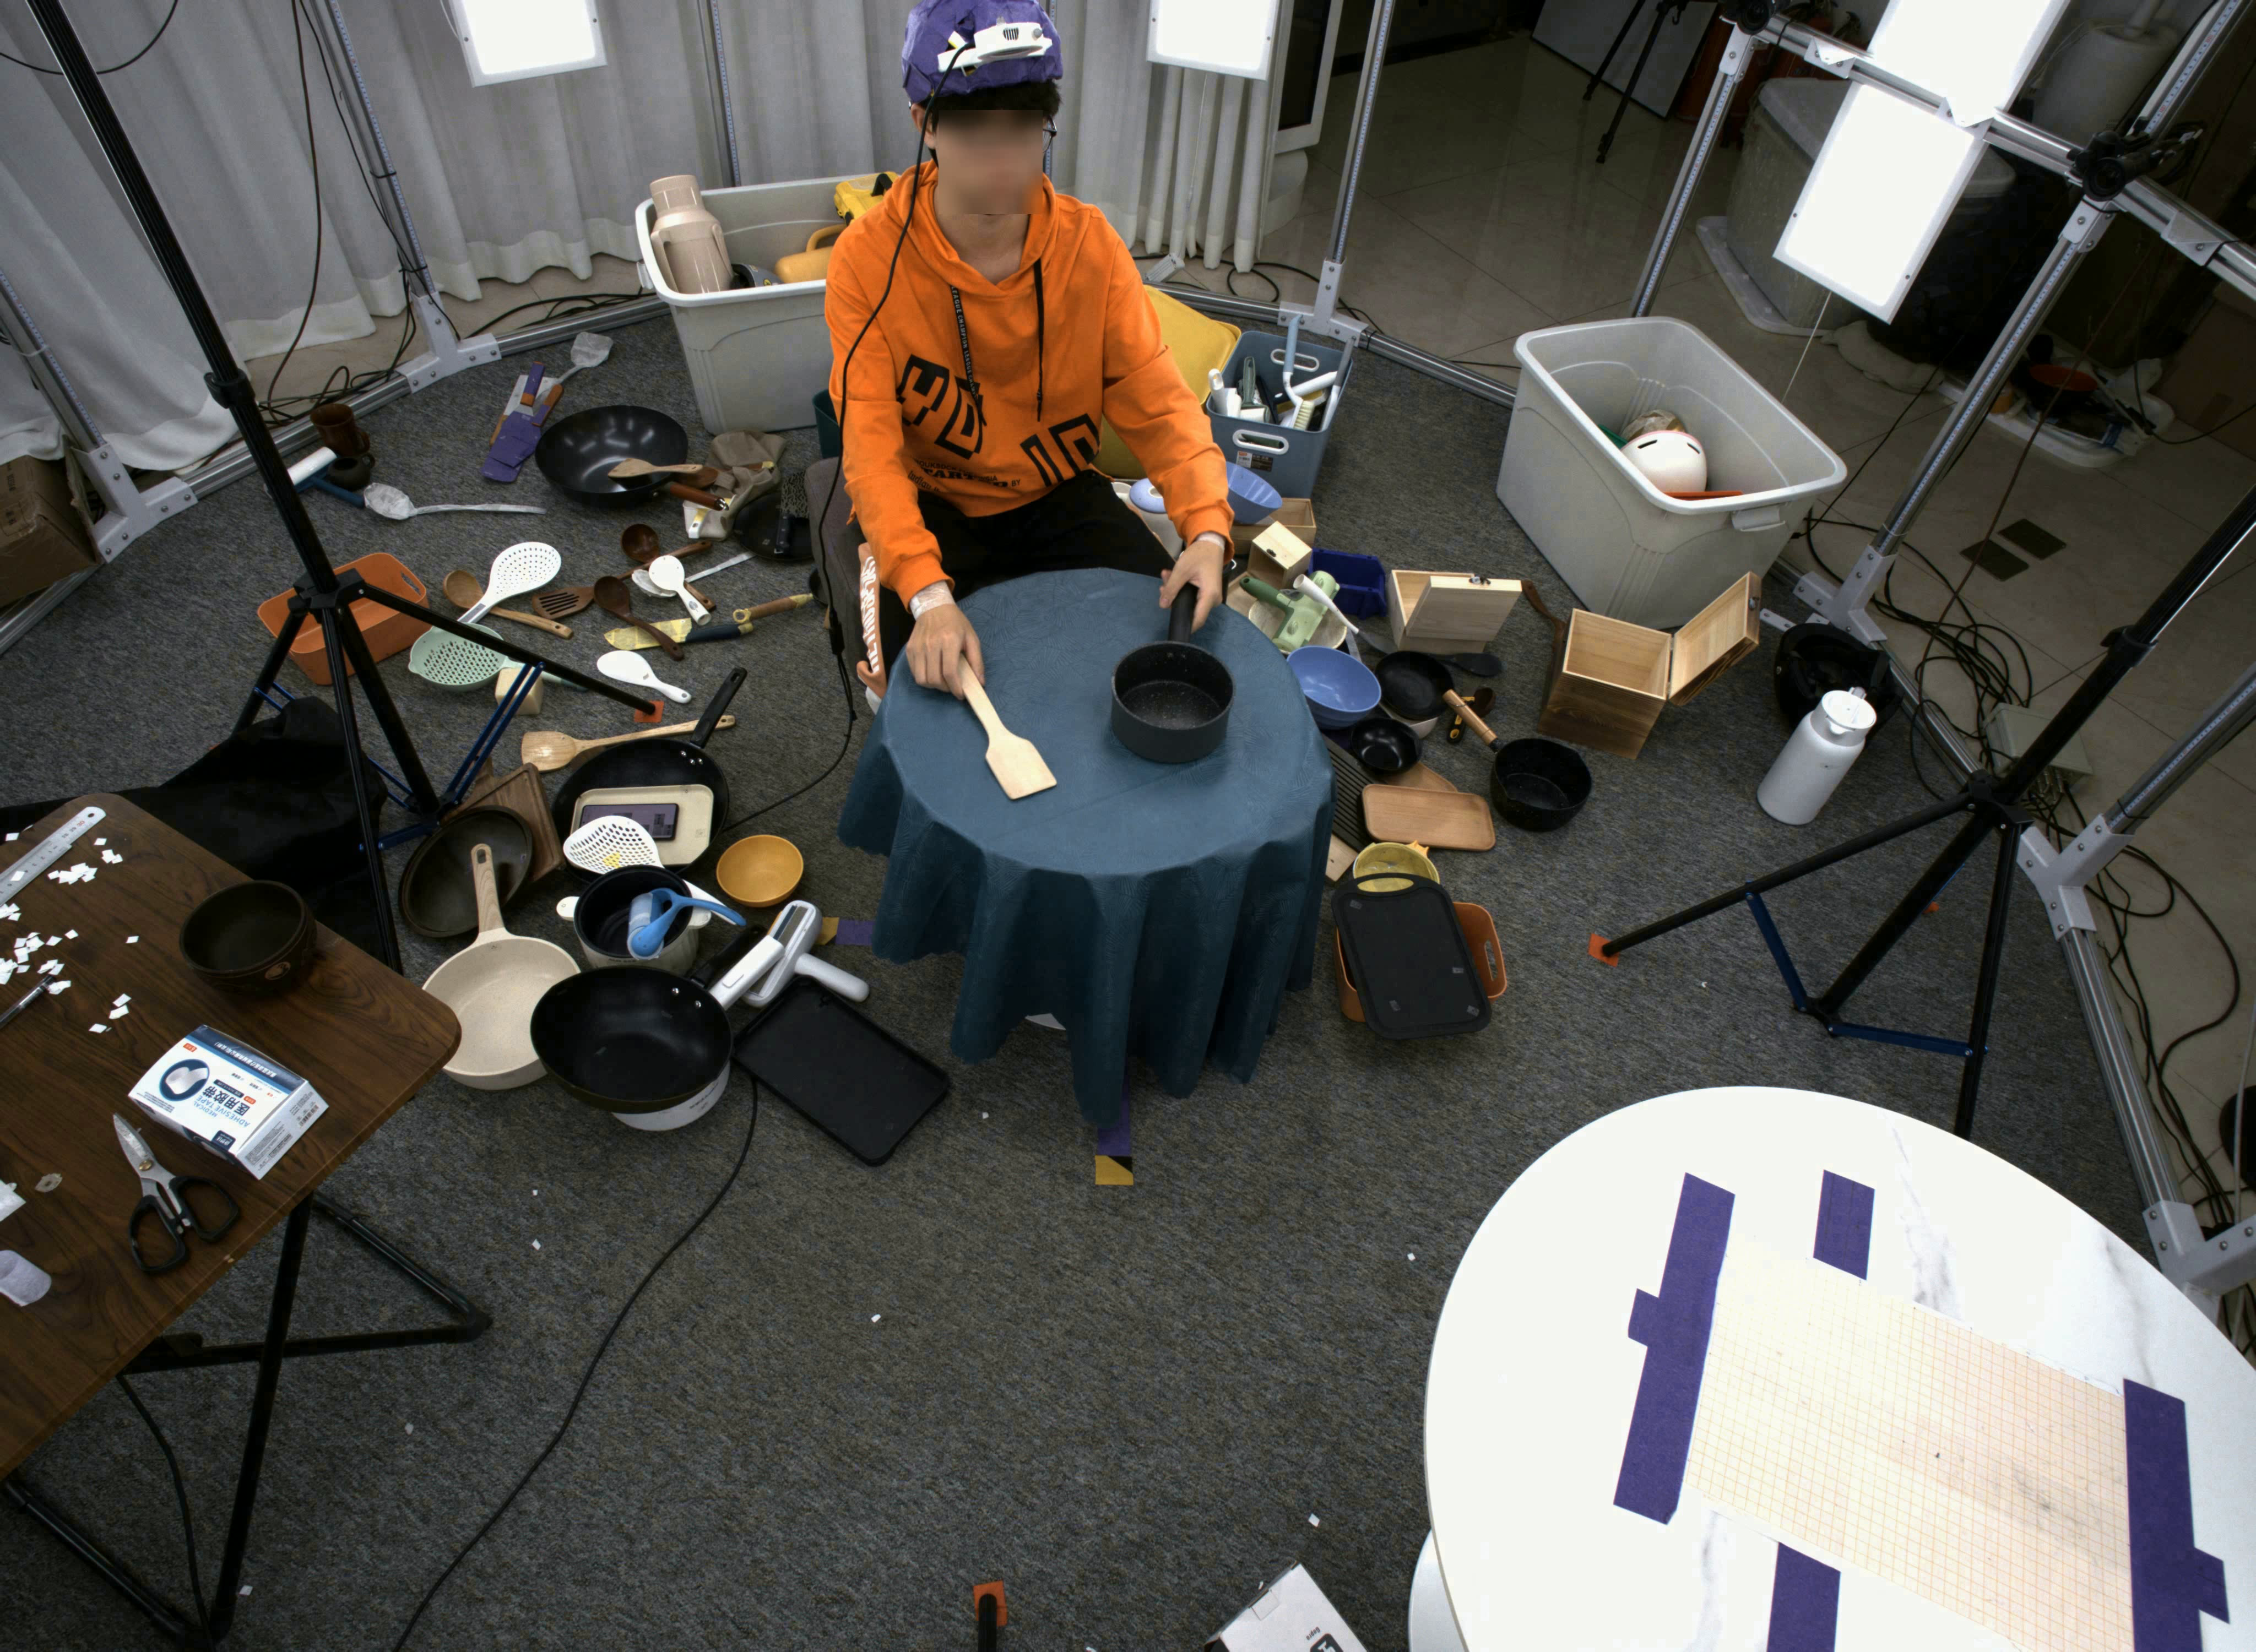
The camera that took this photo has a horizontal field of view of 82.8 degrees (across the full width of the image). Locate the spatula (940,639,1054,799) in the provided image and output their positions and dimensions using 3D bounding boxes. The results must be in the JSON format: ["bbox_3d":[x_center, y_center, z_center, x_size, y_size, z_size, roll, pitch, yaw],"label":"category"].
[{"bbox_3d":[-0.194,-0.154,1.771,0.072,0.010,0.299,-20,58,-18],"label":"spatula"}]

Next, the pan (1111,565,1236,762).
[{"bbox_3d":[0.072,-0.233,1.821,0.172,0.084,0.336,9,51,3],"label":"pan"}]
